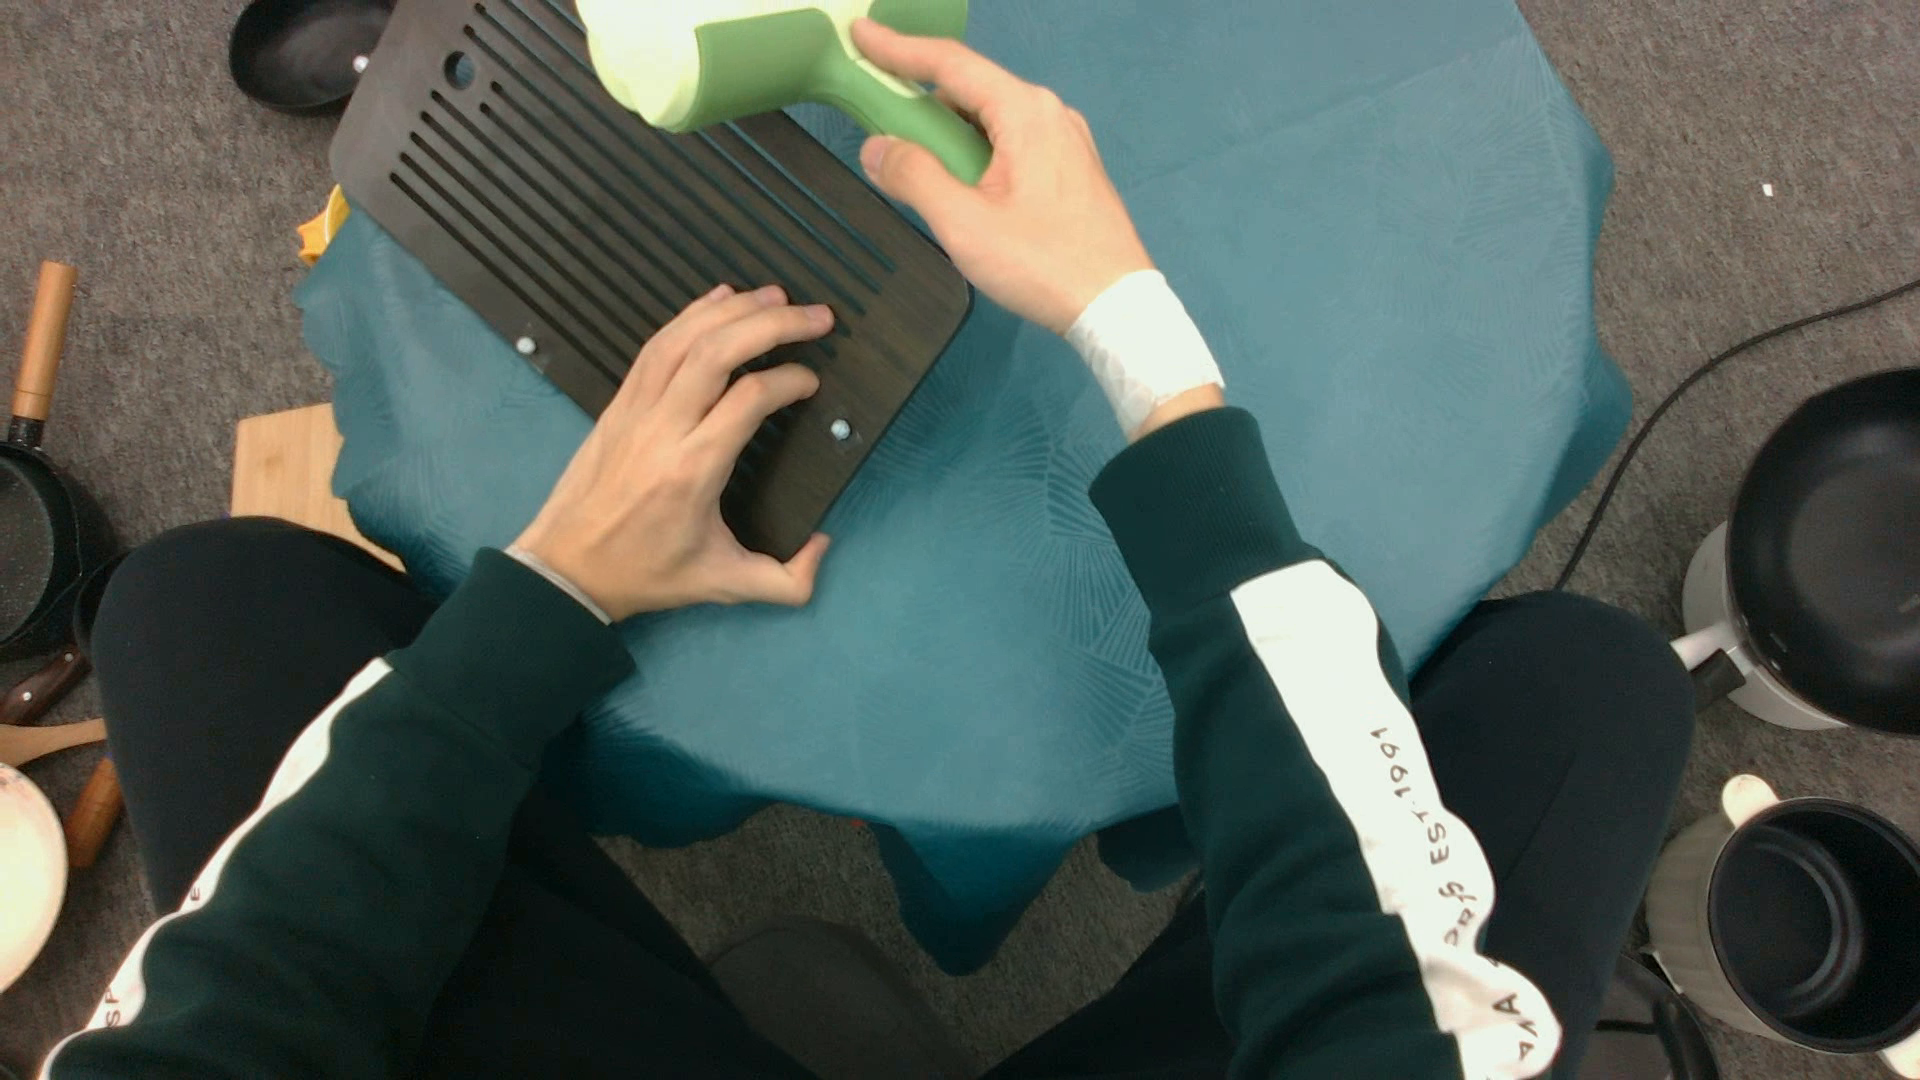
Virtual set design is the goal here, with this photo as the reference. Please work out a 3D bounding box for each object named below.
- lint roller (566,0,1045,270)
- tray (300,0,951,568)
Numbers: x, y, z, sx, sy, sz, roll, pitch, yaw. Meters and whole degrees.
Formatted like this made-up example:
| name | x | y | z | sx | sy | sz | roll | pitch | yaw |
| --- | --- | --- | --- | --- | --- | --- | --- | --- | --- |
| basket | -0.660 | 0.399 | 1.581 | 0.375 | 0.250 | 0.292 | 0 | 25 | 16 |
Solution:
| name | x | y | z | sx | sy | sz | roll | pitch | yaw |
| --- | --- | --- | --- | --- | --- | --- | --- | --- | --- |
| lint roller | -0.029 | -0.188 | 0.558 | 0.183 | 0.082 | 0.199 | 36 | 37 | 13 |
| tray | -0.160 | -0.141 | 0.621 | 0.306 | 0.019 | 0.169 | 40 | 112 | 7 |
